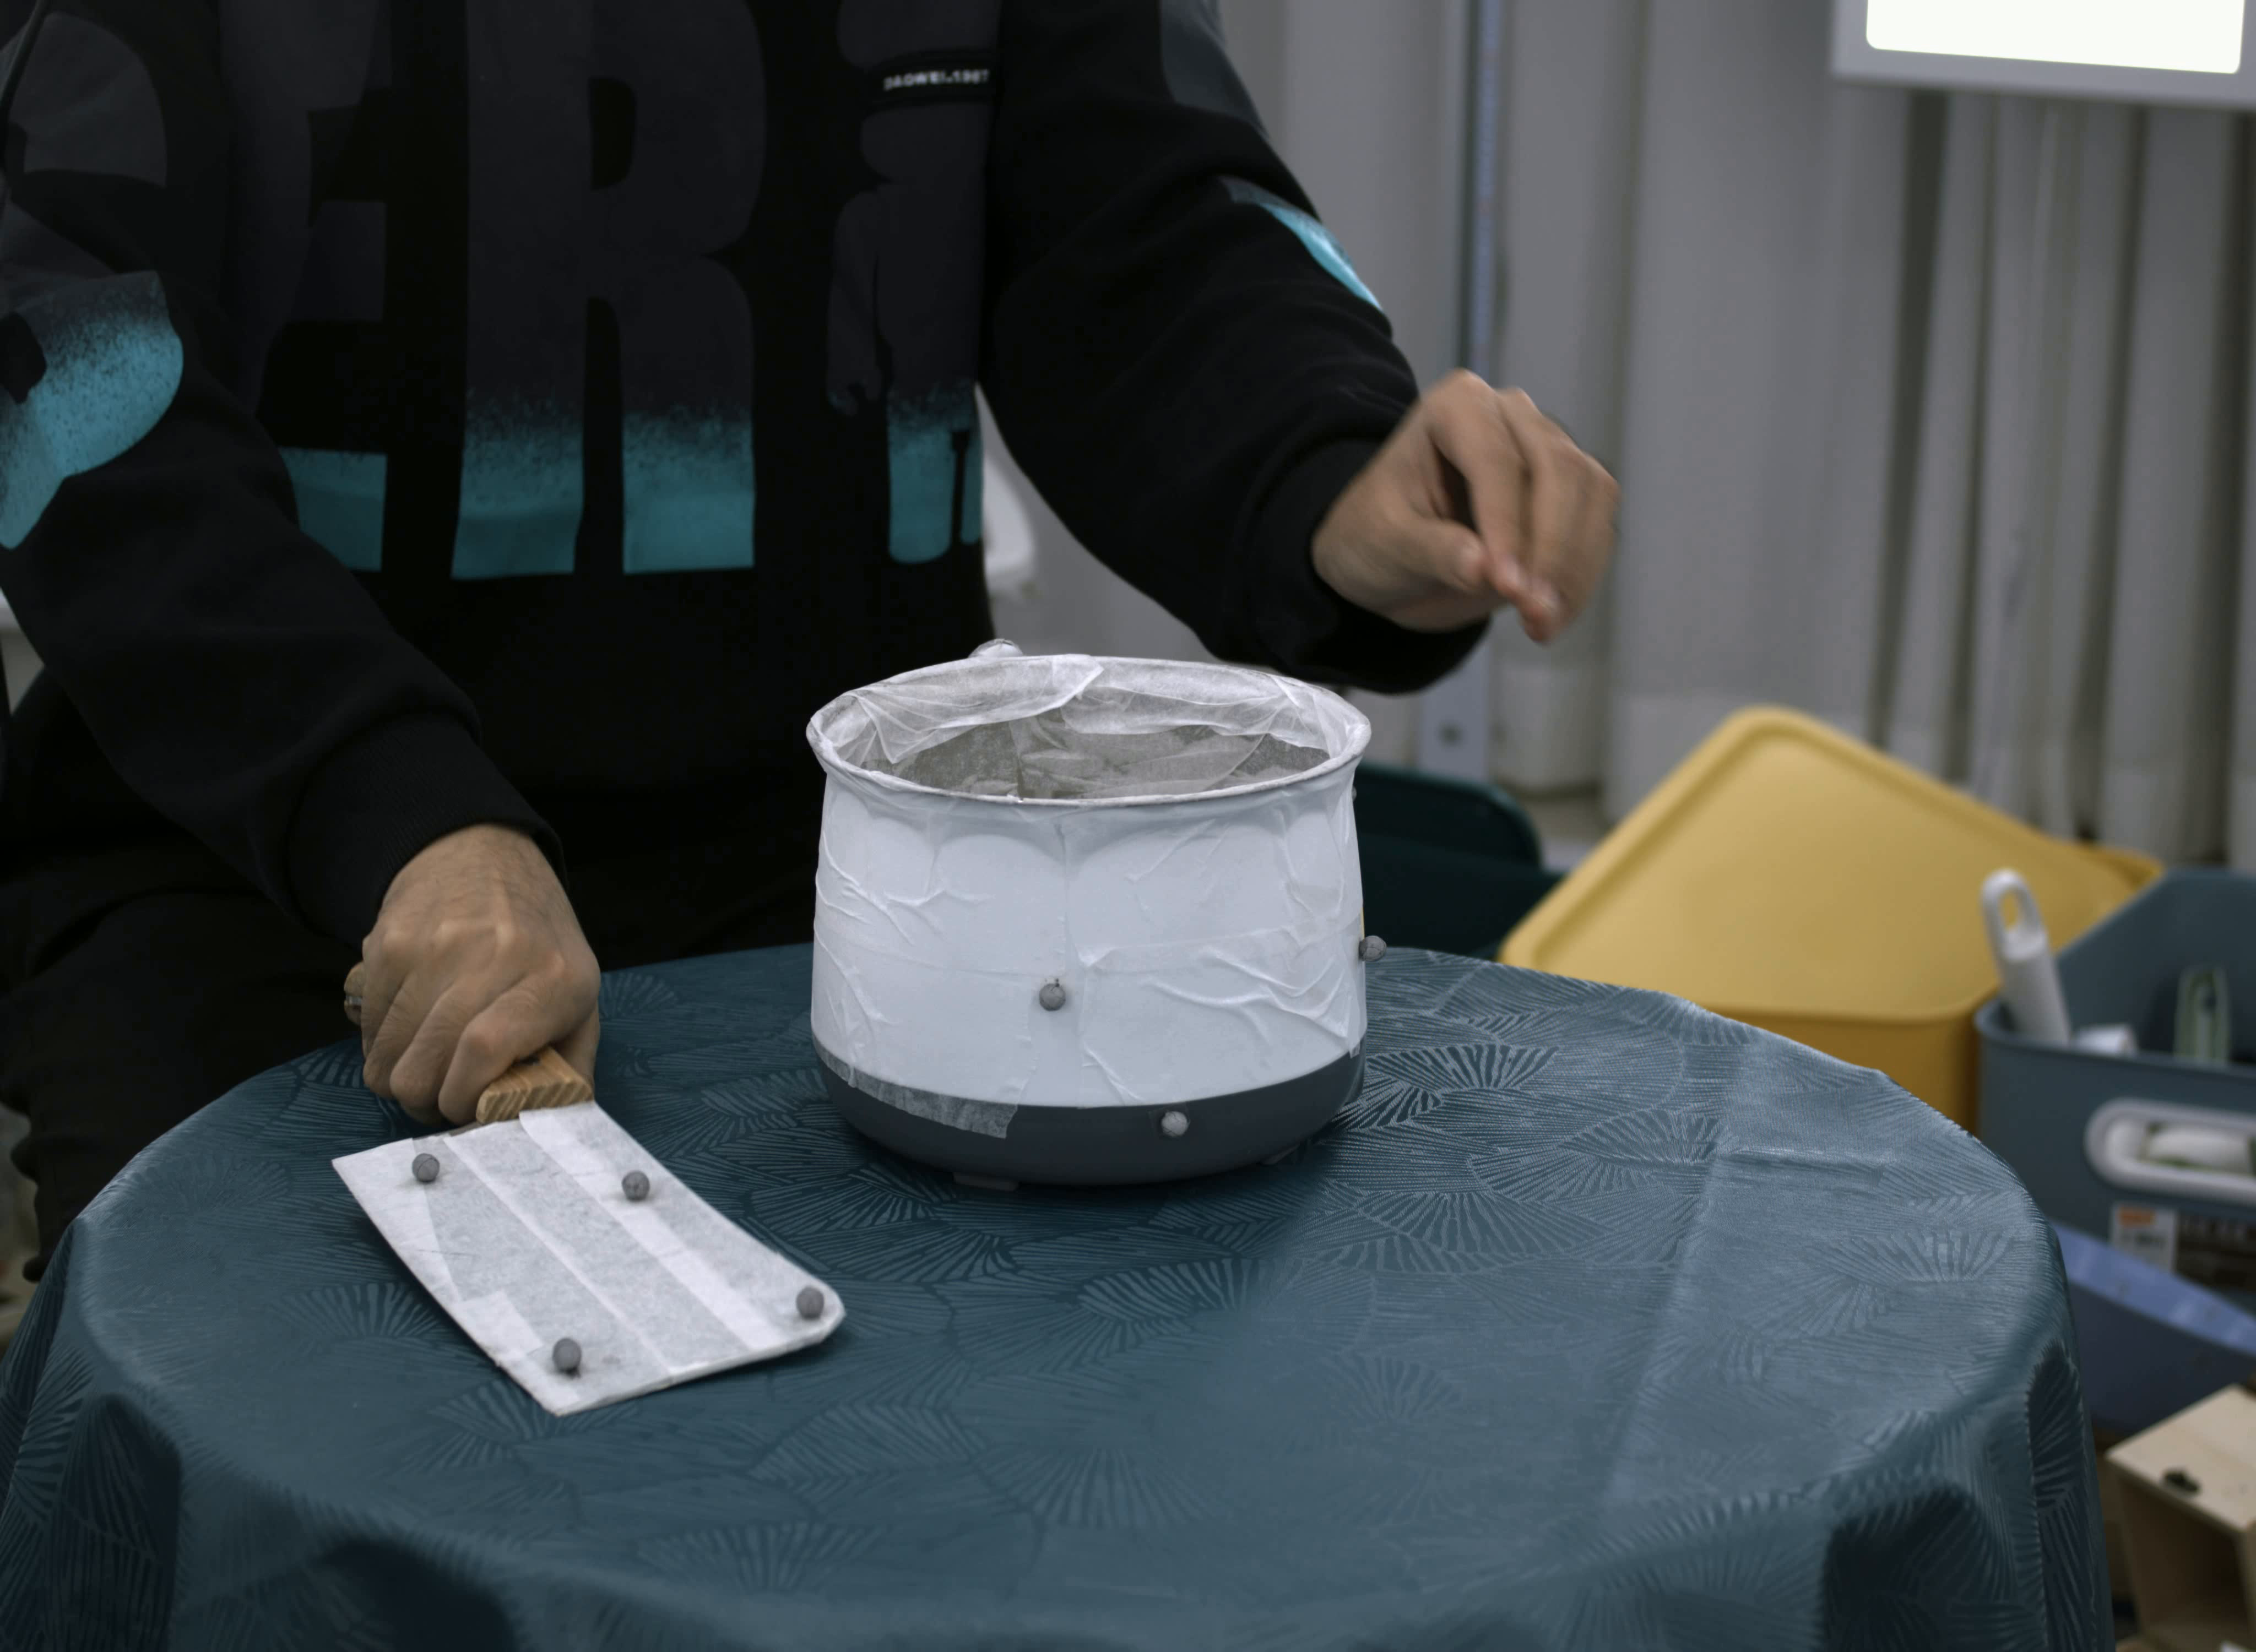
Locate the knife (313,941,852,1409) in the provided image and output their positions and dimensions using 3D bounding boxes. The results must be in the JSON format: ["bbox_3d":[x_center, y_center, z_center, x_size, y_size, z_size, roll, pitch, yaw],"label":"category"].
[{"bbox_3d":[-0.181,0.100,1.588,0.114,0.022,0.311,-11,25,-22],"label":"knife"}]

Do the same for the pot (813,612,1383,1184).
[{"bbox_3d":[-0.020,0.018,1.686,0.179,0.138,0.231,-4,20,-18],"label":"pot"}]
